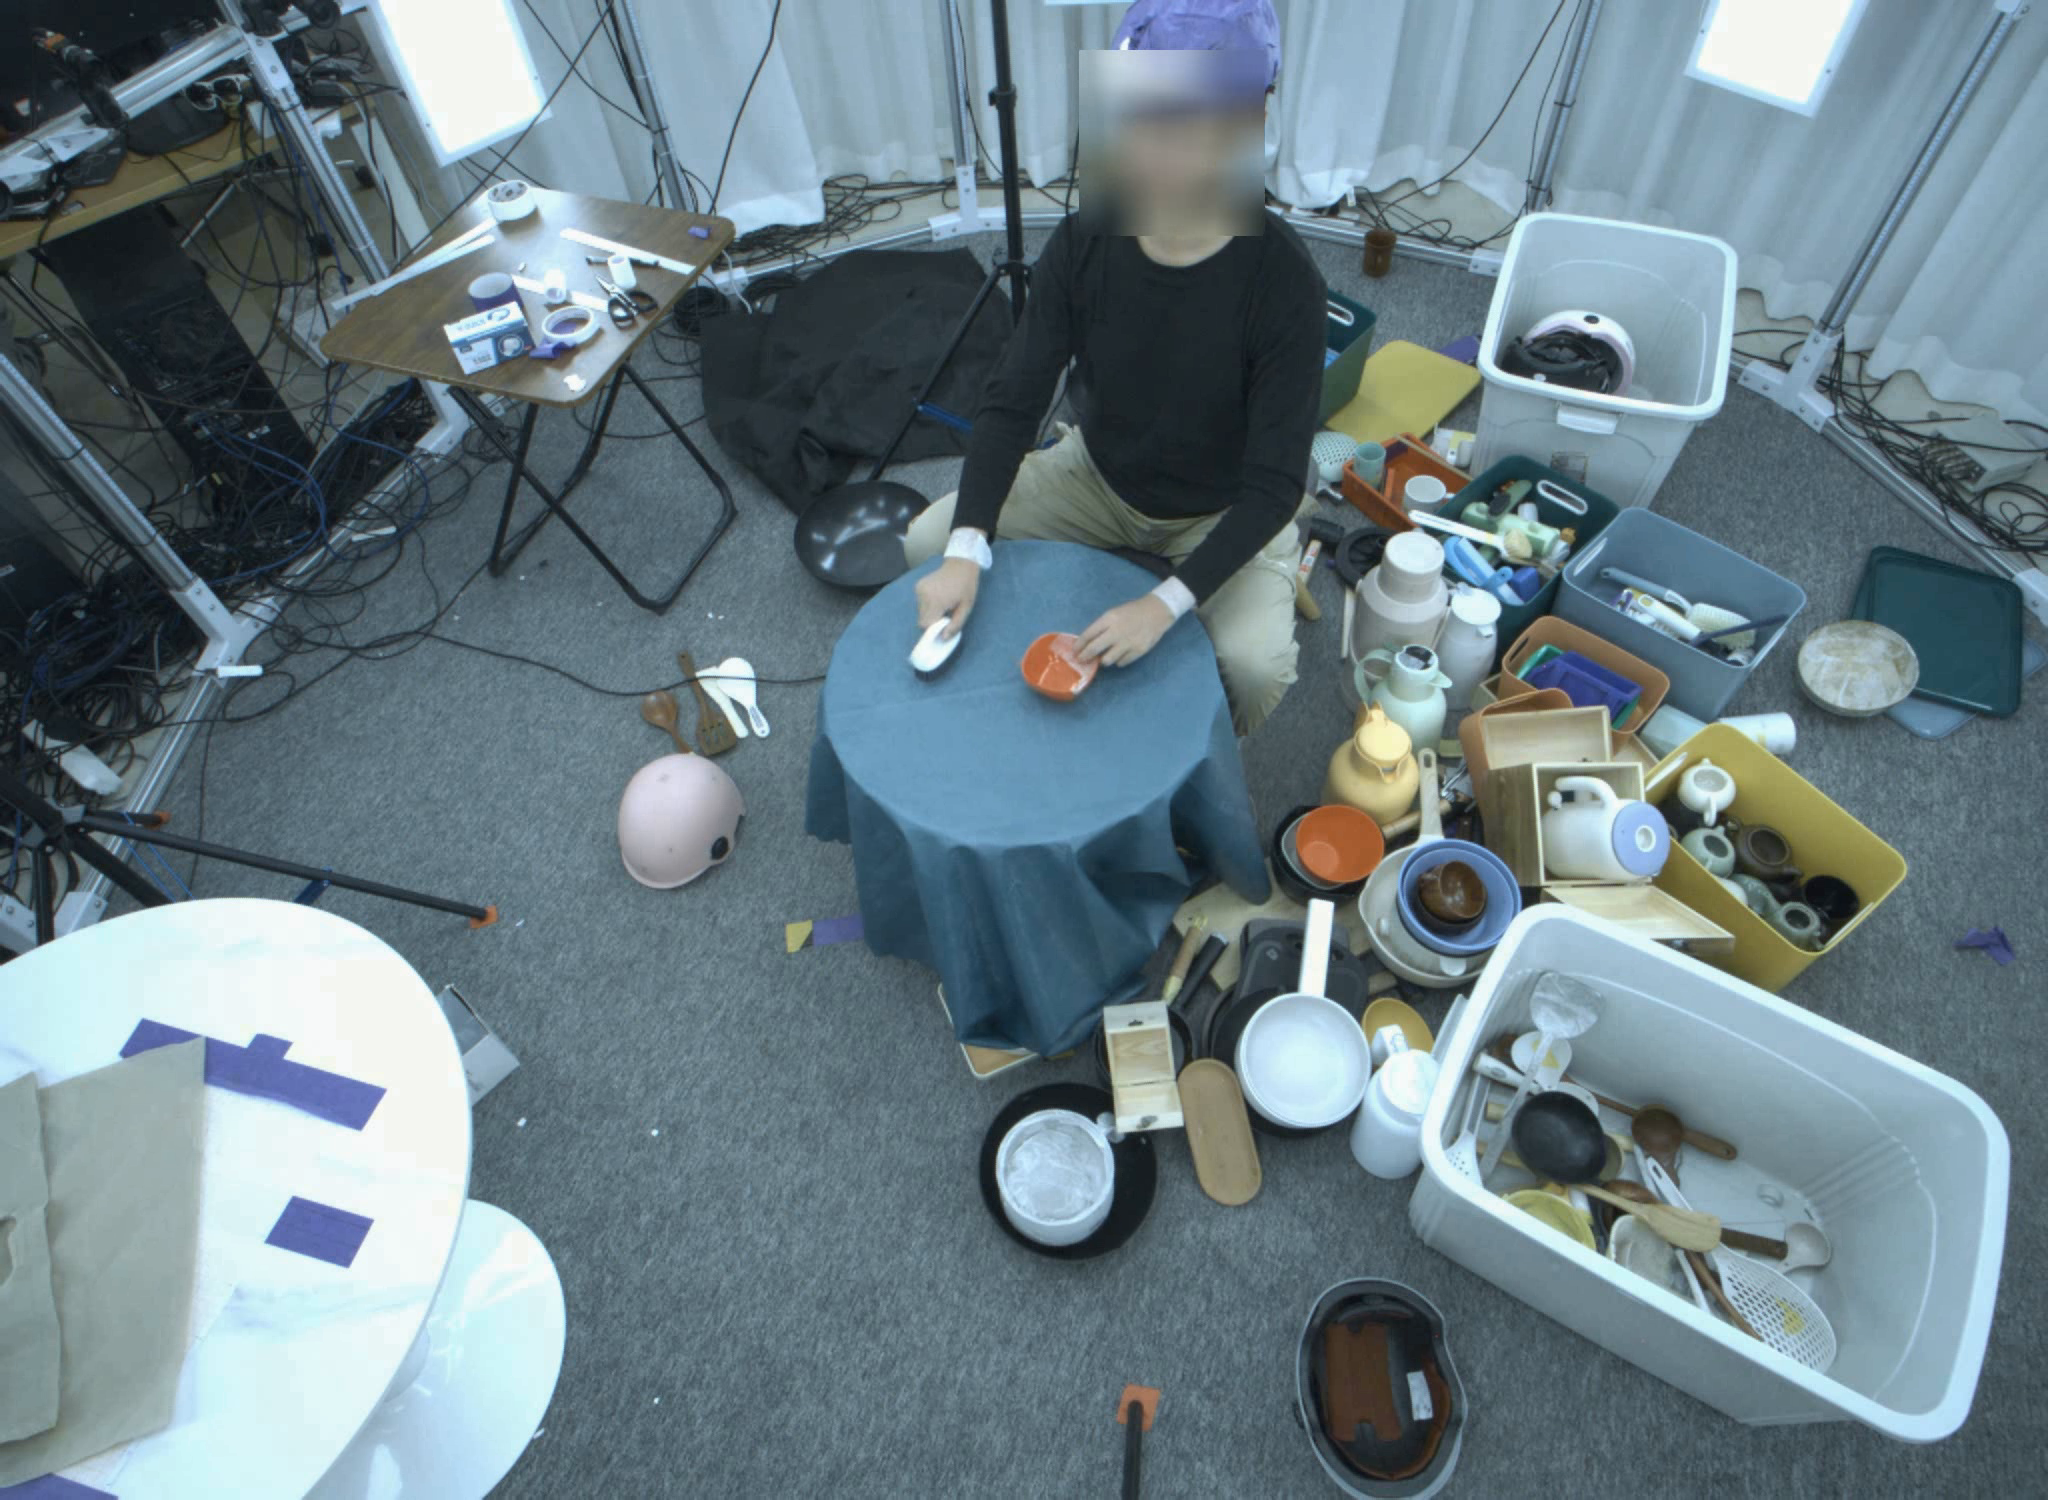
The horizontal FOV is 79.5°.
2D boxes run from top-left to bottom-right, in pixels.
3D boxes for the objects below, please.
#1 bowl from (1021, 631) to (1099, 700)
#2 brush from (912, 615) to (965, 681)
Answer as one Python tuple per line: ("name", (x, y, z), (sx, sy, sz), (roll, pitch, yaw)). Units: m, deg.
("bowl", (0.056, -0.118, 1.837), (0.118, 0.052, 0.118), (-2, 57, 4))
("brush", (-0.133, -0.162, 1.861), (0.049, 0.073, 0.099), (27, 61, 22))
